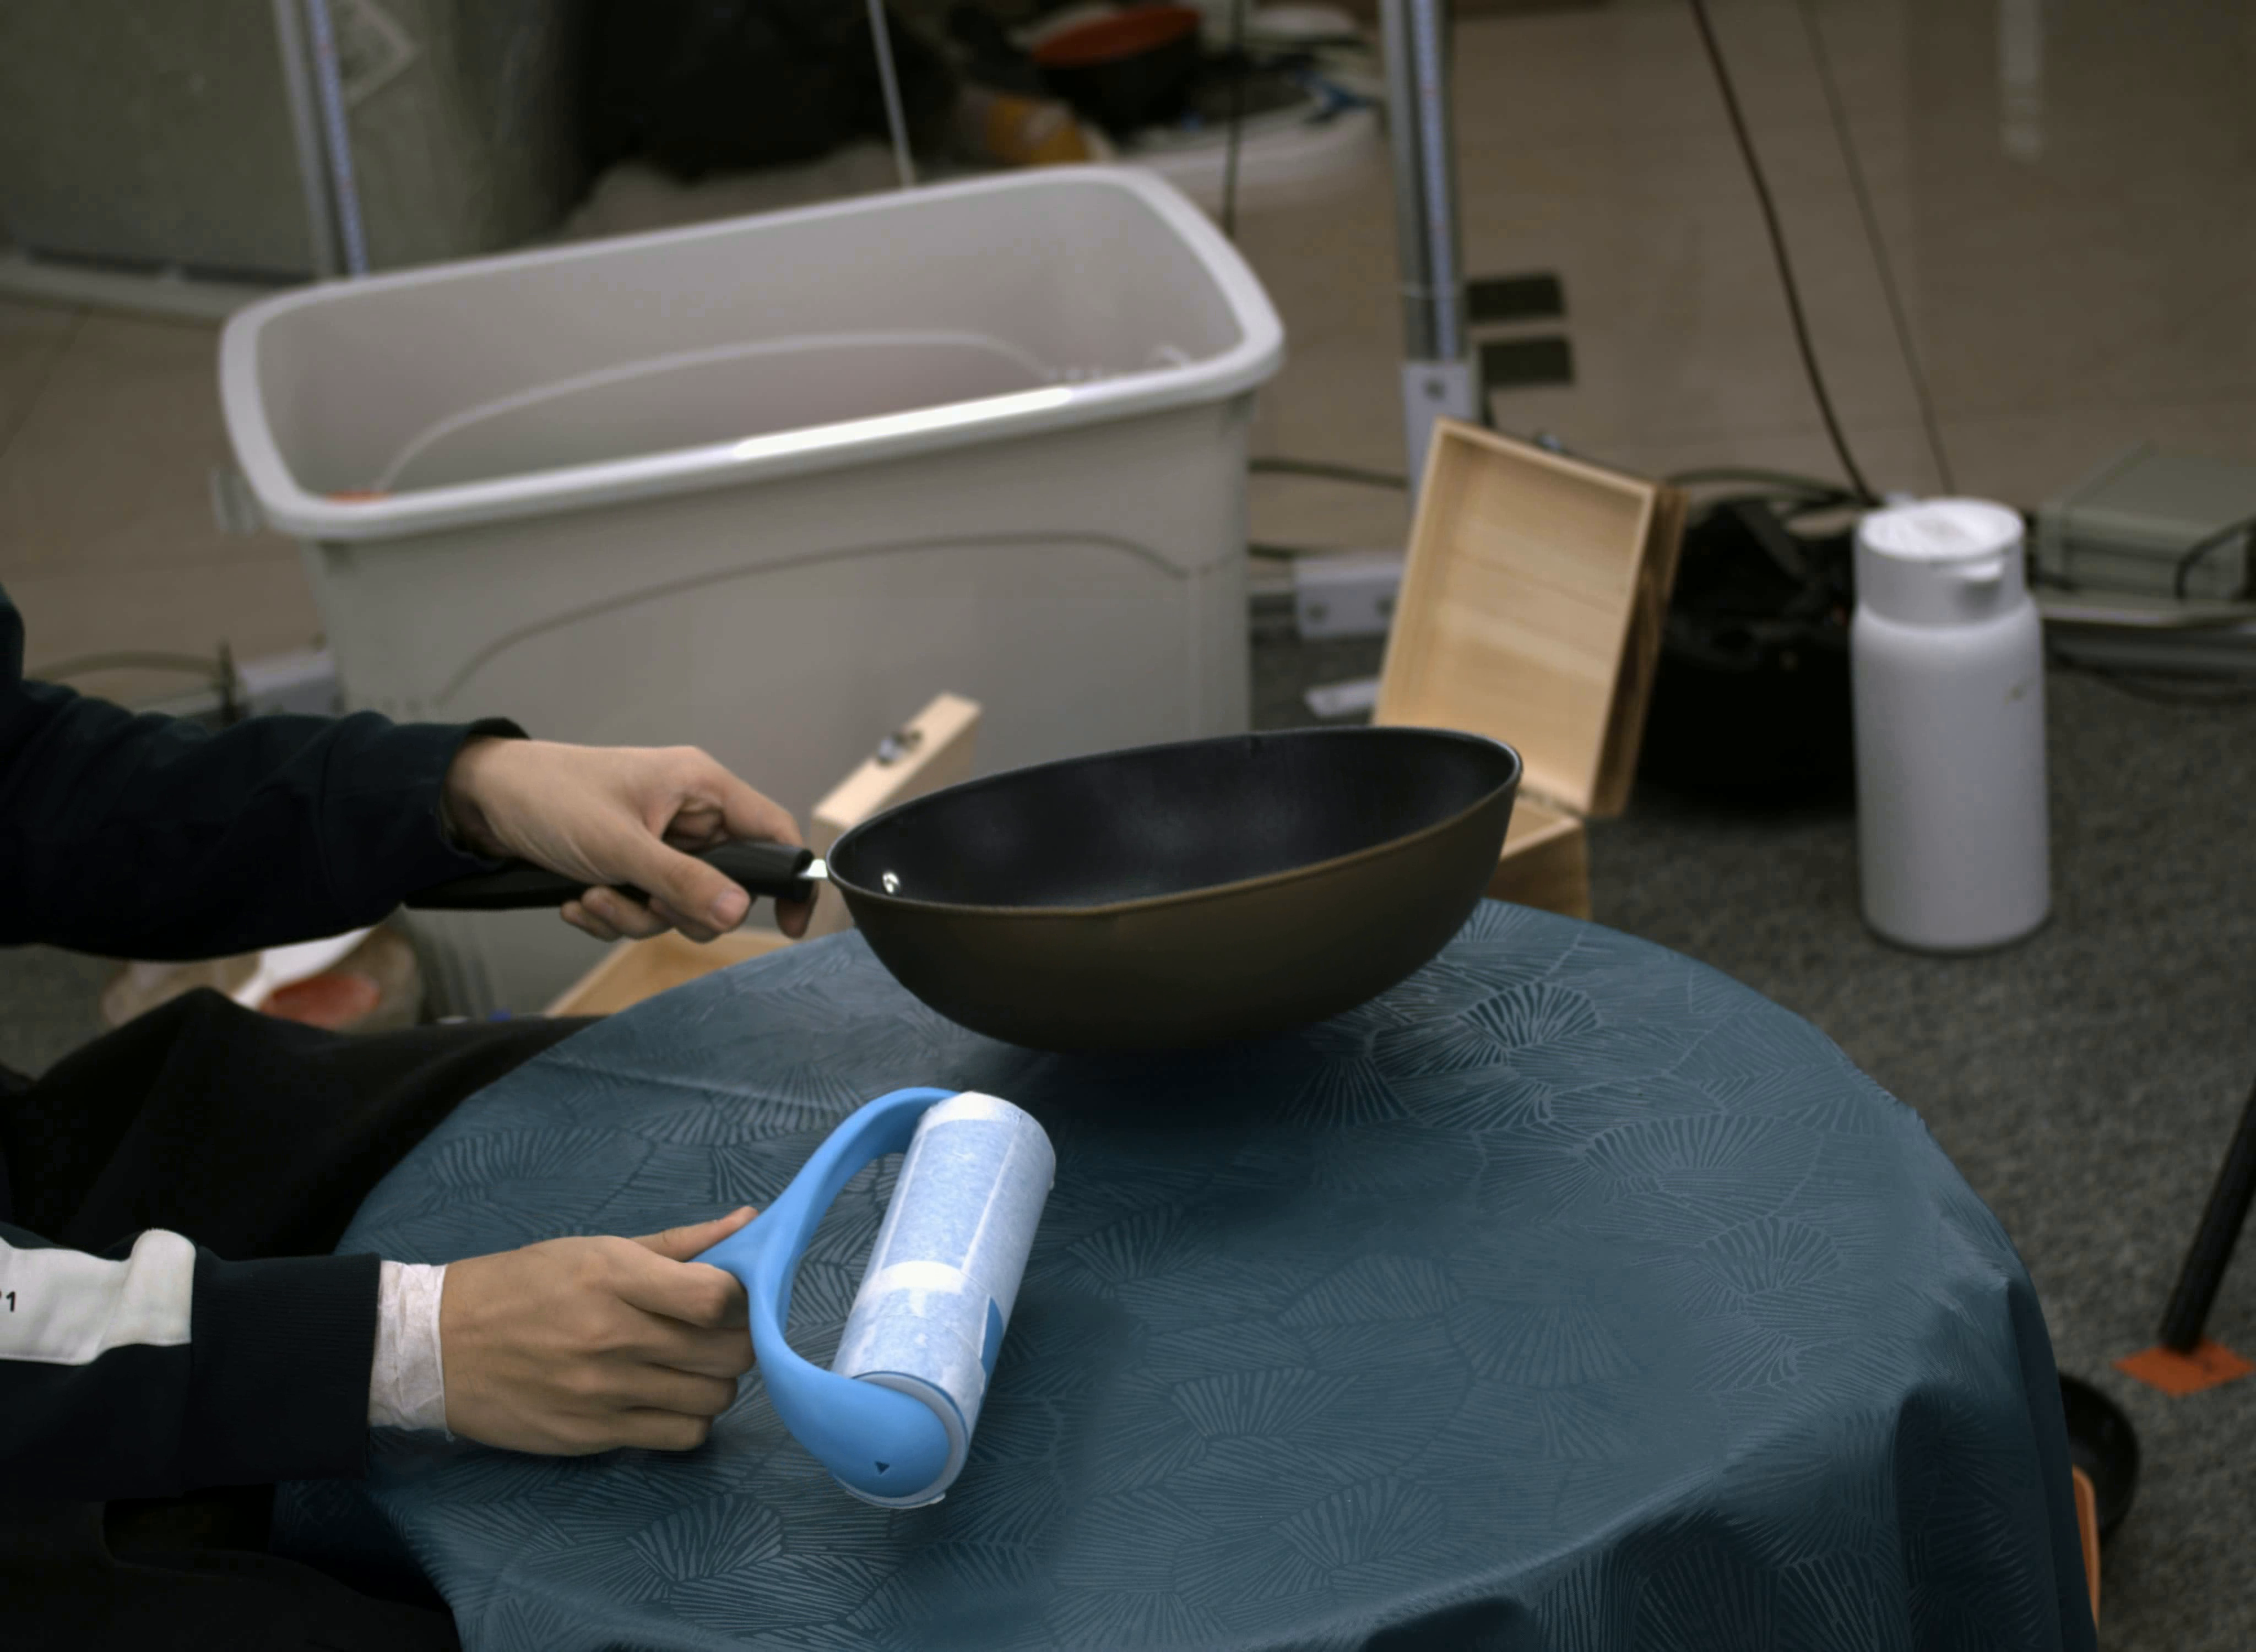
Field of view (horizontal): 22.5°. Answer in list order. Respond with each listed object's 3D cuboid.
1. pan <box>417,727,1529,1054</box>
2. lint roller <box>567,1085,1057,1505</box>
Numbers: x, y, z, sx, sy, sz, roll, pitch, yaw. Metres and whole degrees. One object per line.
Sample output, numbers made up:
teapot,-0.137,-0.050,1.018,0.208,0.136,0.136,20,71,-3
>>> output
pan,-0.064,0.038,2.248,0.463,0.087,0.286,-6,12,16
lint roller,-0.121,0.173,1.992,0.180,0.069,0.225,-12,27,11
